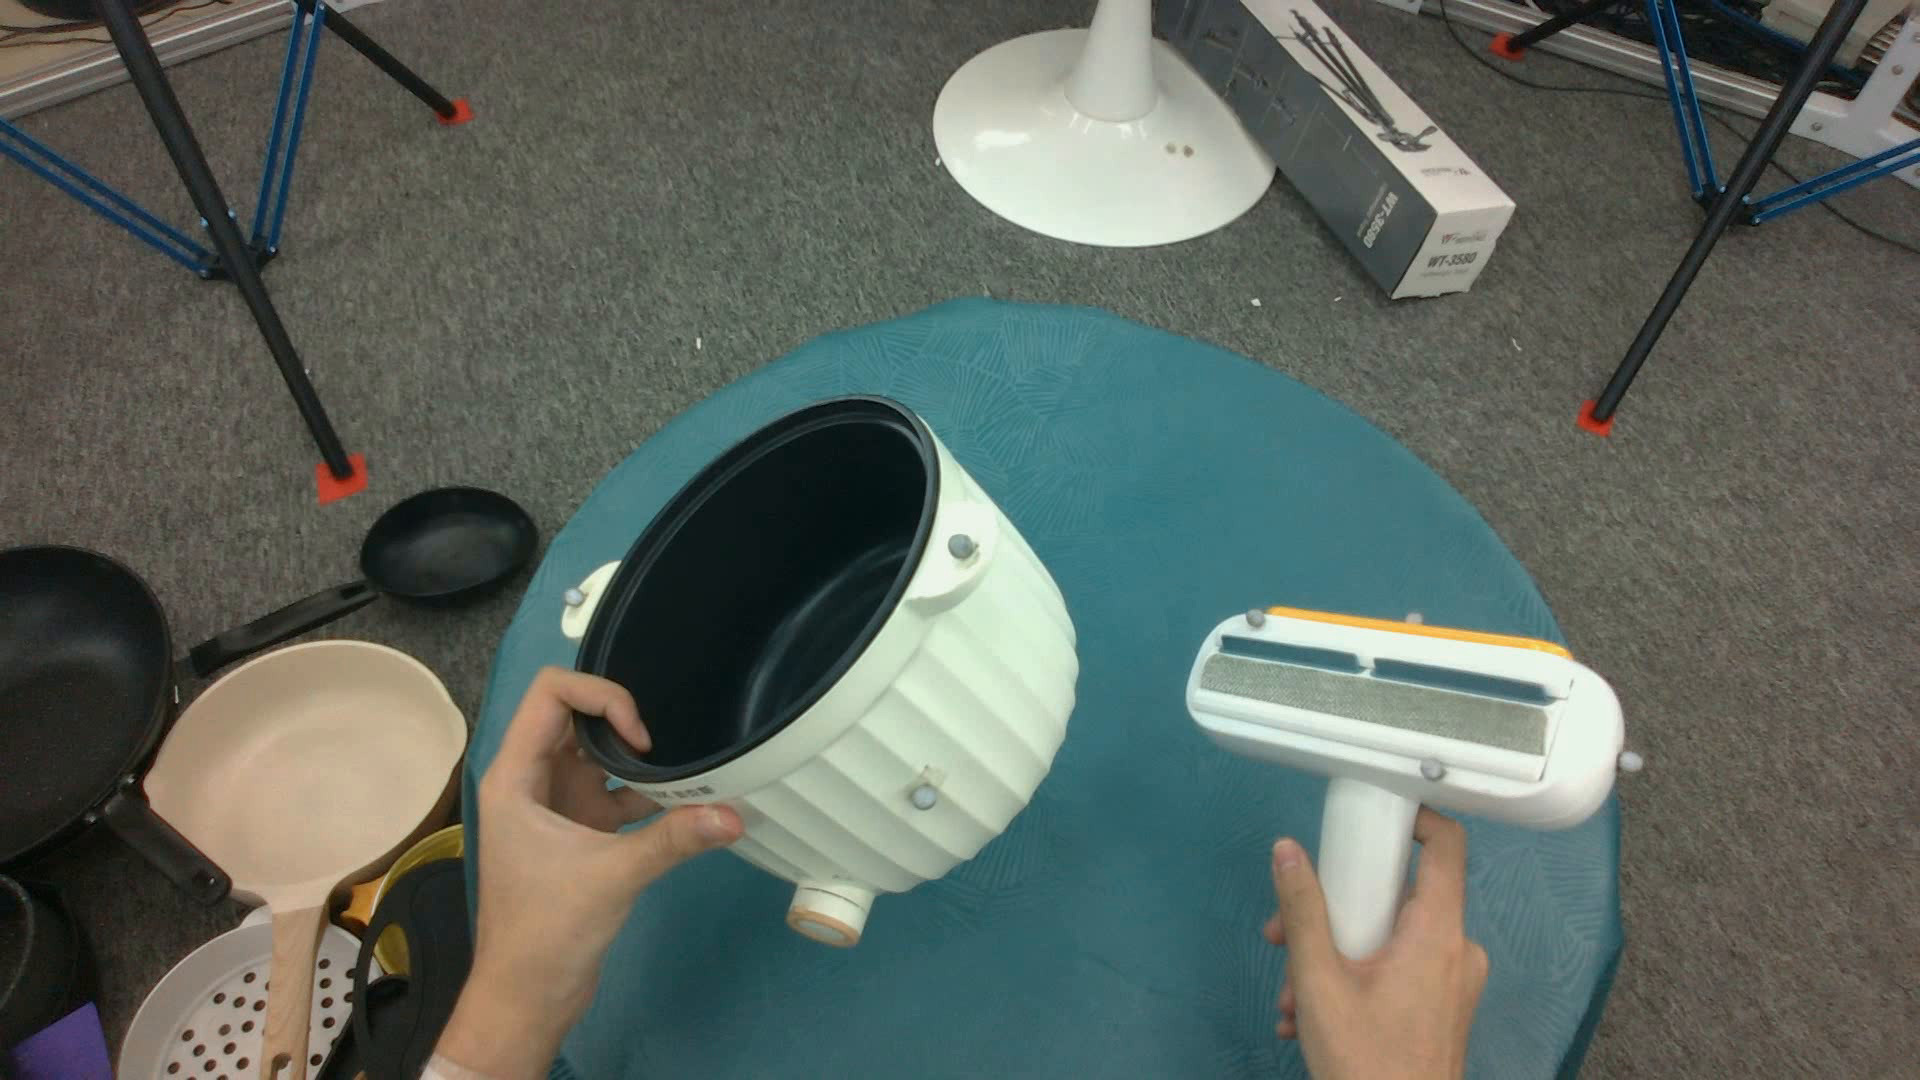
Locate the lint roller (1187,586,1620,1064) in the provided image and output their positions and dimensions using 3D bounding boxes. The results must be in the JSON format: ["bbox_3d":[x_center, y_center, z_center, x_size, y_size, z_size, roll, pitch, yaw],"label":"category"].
[{"bbox_3d":[0.164,0.124,0.580,0.192,0.074,0.192,13,82,48],"label":"lint roller"}]

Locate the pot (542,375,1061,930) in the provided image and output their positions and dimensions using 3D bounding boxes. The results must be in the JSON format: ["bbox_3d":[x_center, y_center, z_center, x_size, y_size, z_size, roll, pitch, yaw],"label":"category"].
[{"bbox_3d":[-0.054,0.048,0.570,0.239,0.142,0.191,-10,45,39],"label":"pot"}]
